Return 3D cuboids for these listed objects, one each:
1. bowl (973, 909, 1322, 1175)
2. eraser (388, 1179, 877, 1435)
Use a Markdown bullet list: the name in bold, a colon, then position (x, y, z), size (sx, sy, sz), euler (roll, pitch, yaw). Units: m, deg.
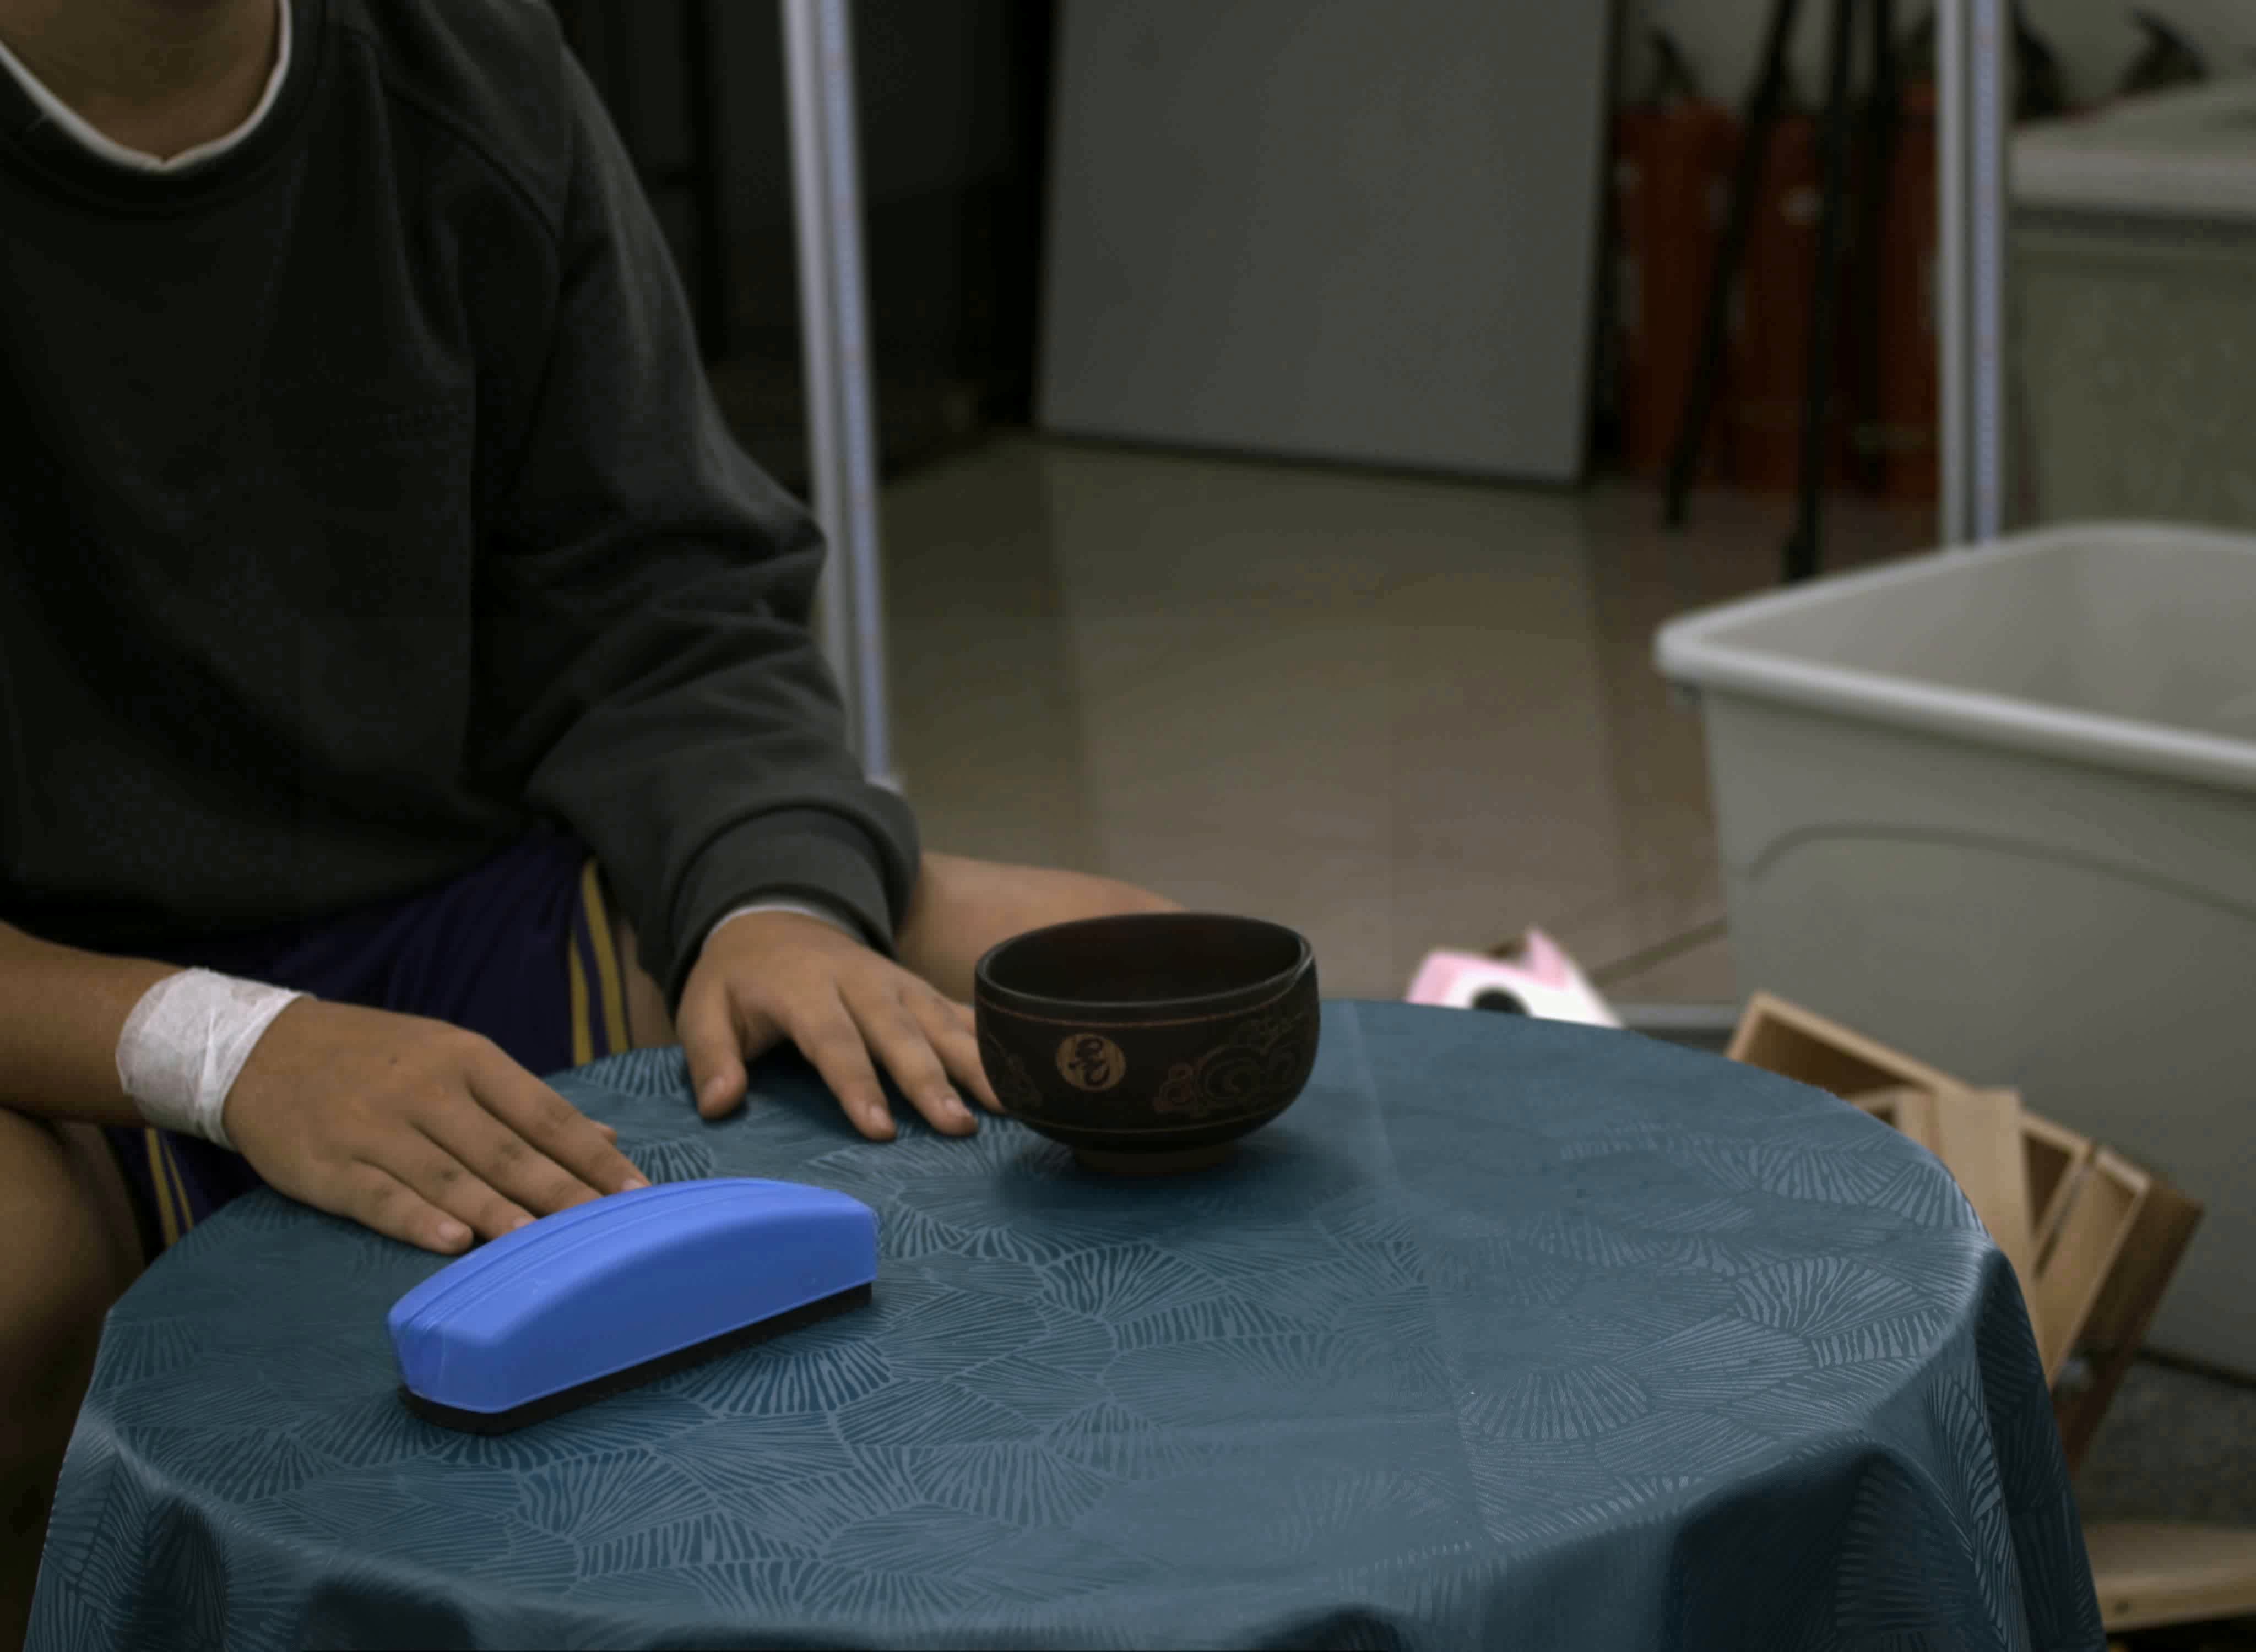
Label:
- **bowl**: position (0.008, 0.075, 1.799), size (0.116, 0.070, 0.118), euler (-5, 13, 0)
- **eraser**: position (-0.149, 0.139, 1.640), size (0.159, 0.048, 0.054), euler (-16, 20, -42)
